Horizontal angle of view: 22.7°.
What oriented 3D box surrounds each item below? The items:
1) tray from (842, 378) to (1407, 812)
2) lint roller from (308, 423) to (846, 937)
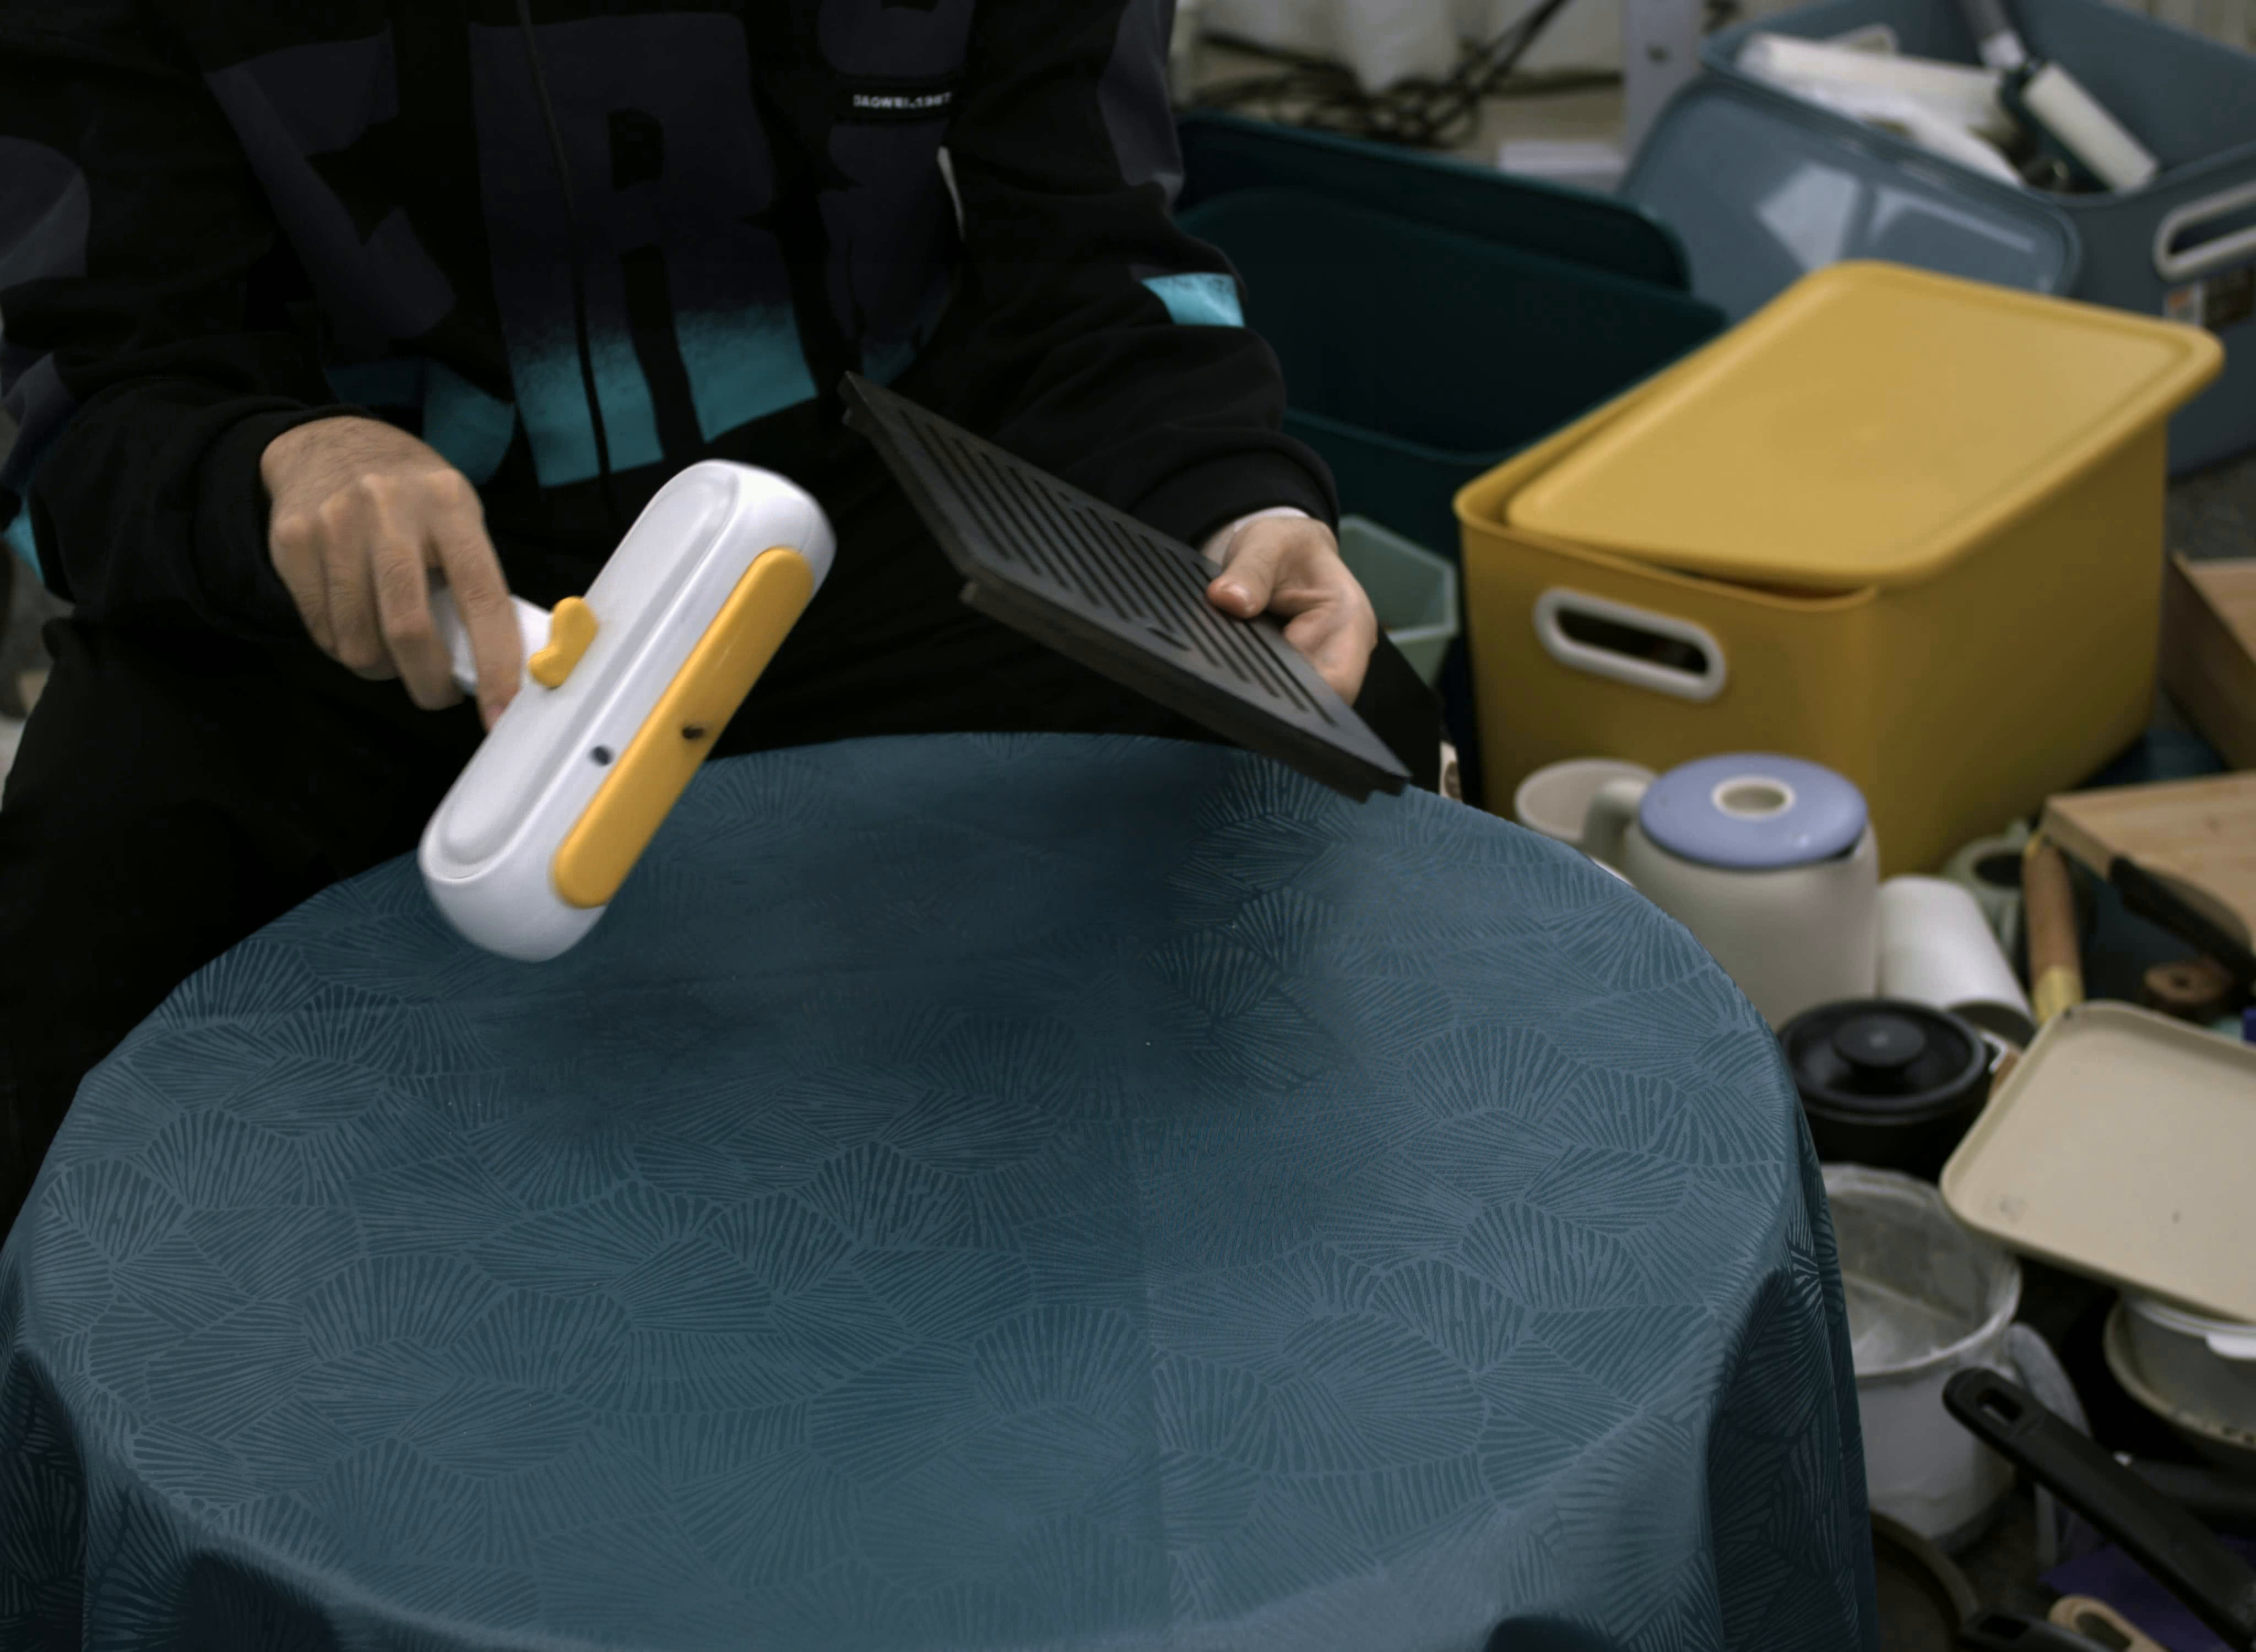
[{"bbox_3d":[-0.009,-0.083,1.969,0.169,0.018,0.308,26,10,-17],"label":"tray"},{"bbox_3d":[-0.209,-0.064,1.969,0.191,0.073,0.195,13,72,43],"label":"lint roller"}]
